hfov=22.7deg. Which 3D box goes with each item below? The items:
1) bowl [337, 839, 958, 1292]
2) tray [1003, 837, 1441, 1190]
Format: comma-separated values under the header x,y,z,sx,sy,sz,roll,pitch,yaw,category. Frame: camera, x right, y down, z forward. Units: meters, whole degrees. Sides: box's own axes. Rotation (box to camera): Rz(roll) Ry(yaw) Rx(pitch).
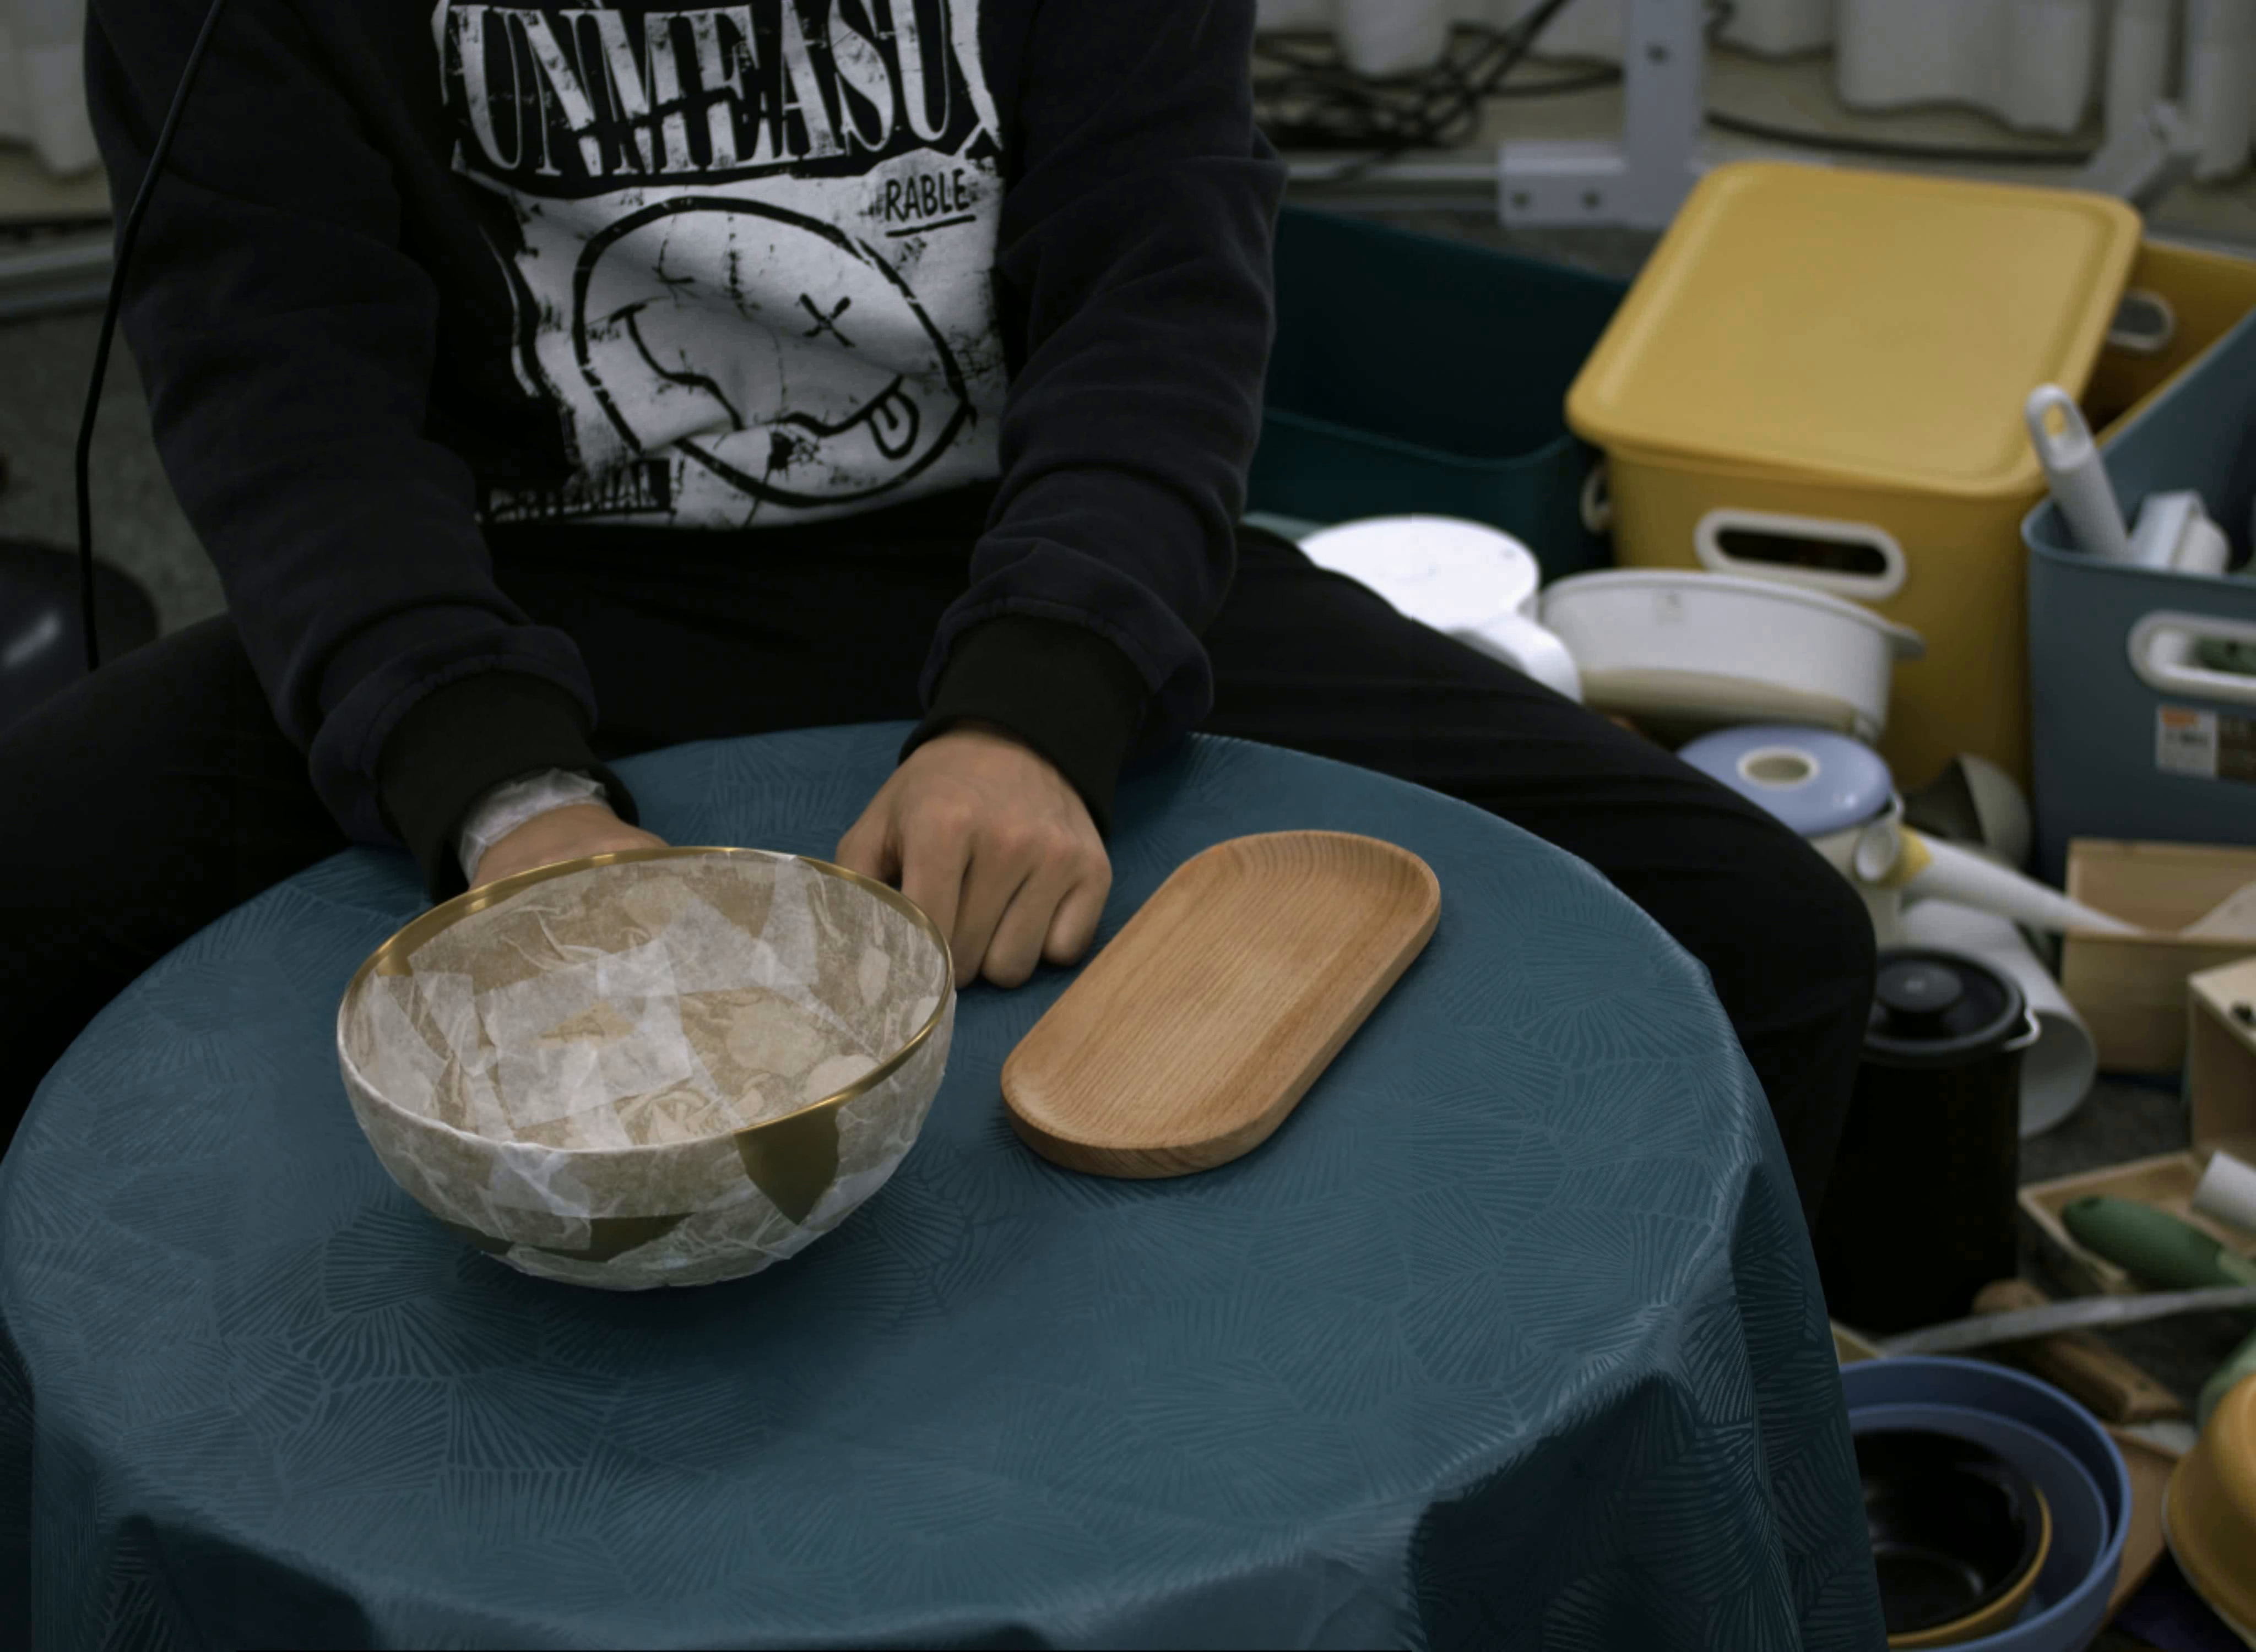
x,y,z,sx,sy,sz,roll,pitch,yaw,category
-0.149,0.090,1.836,0.213,0.093,0.218,-4,27,2,bowl
0.035,0.063,1.955,0.101,0.020,0.235,7,31,23,tray
